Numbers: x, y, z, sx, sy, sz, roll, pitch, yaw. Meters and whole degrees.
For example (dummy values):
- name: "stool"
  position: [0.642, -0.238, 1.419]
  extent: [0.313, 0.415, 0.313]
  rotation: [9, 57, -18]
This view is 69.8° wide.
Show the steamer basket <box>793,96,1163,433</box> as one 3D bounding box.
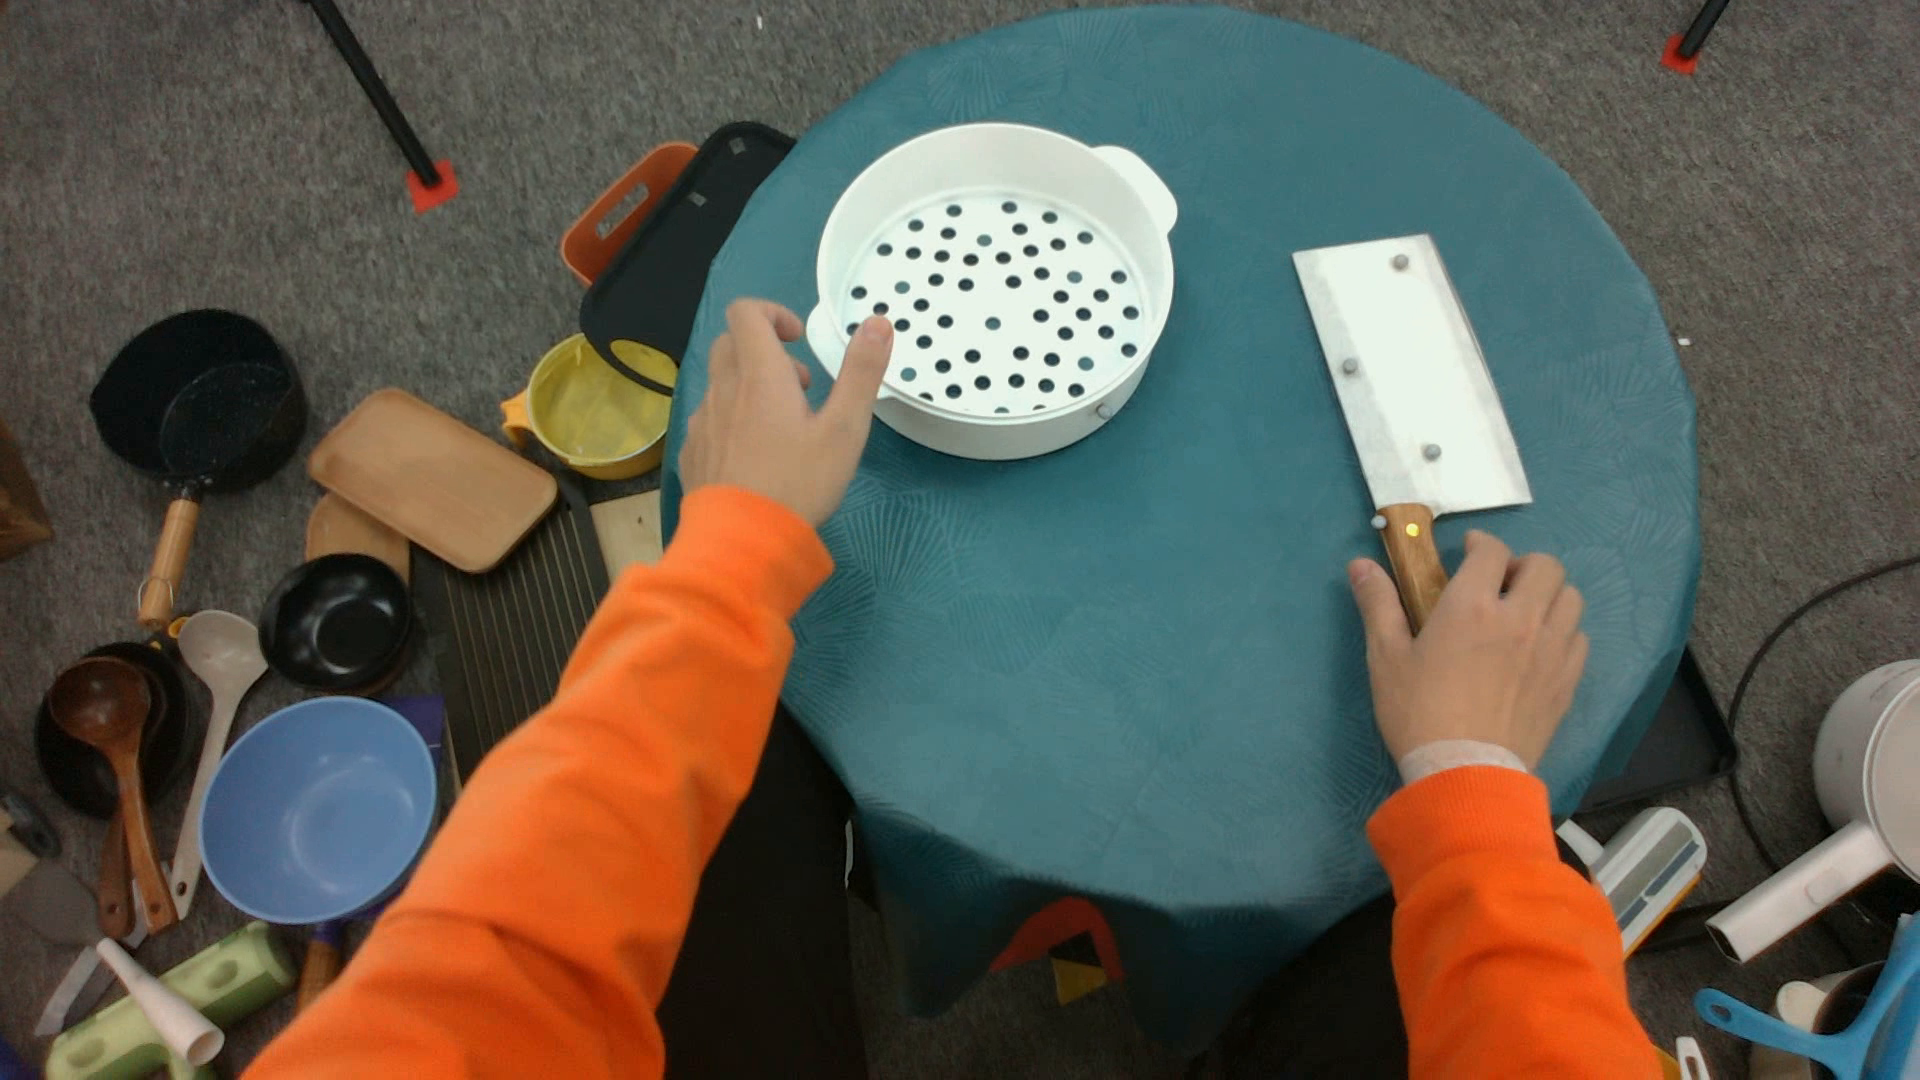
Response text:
- name: "steamer basket"
  position: [0.012, -0.159, 0.801]
  extent: [0.231, 0.069, 0.202]
  rotation: [-32, 72, -15]

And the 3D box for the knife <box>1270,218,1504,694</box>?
- name: "knife"
  position: [0.261, -0.061, 0.797]
  extent: [0.093, 0.021, 0.306]
  rotation: [-8, 66, -7]
